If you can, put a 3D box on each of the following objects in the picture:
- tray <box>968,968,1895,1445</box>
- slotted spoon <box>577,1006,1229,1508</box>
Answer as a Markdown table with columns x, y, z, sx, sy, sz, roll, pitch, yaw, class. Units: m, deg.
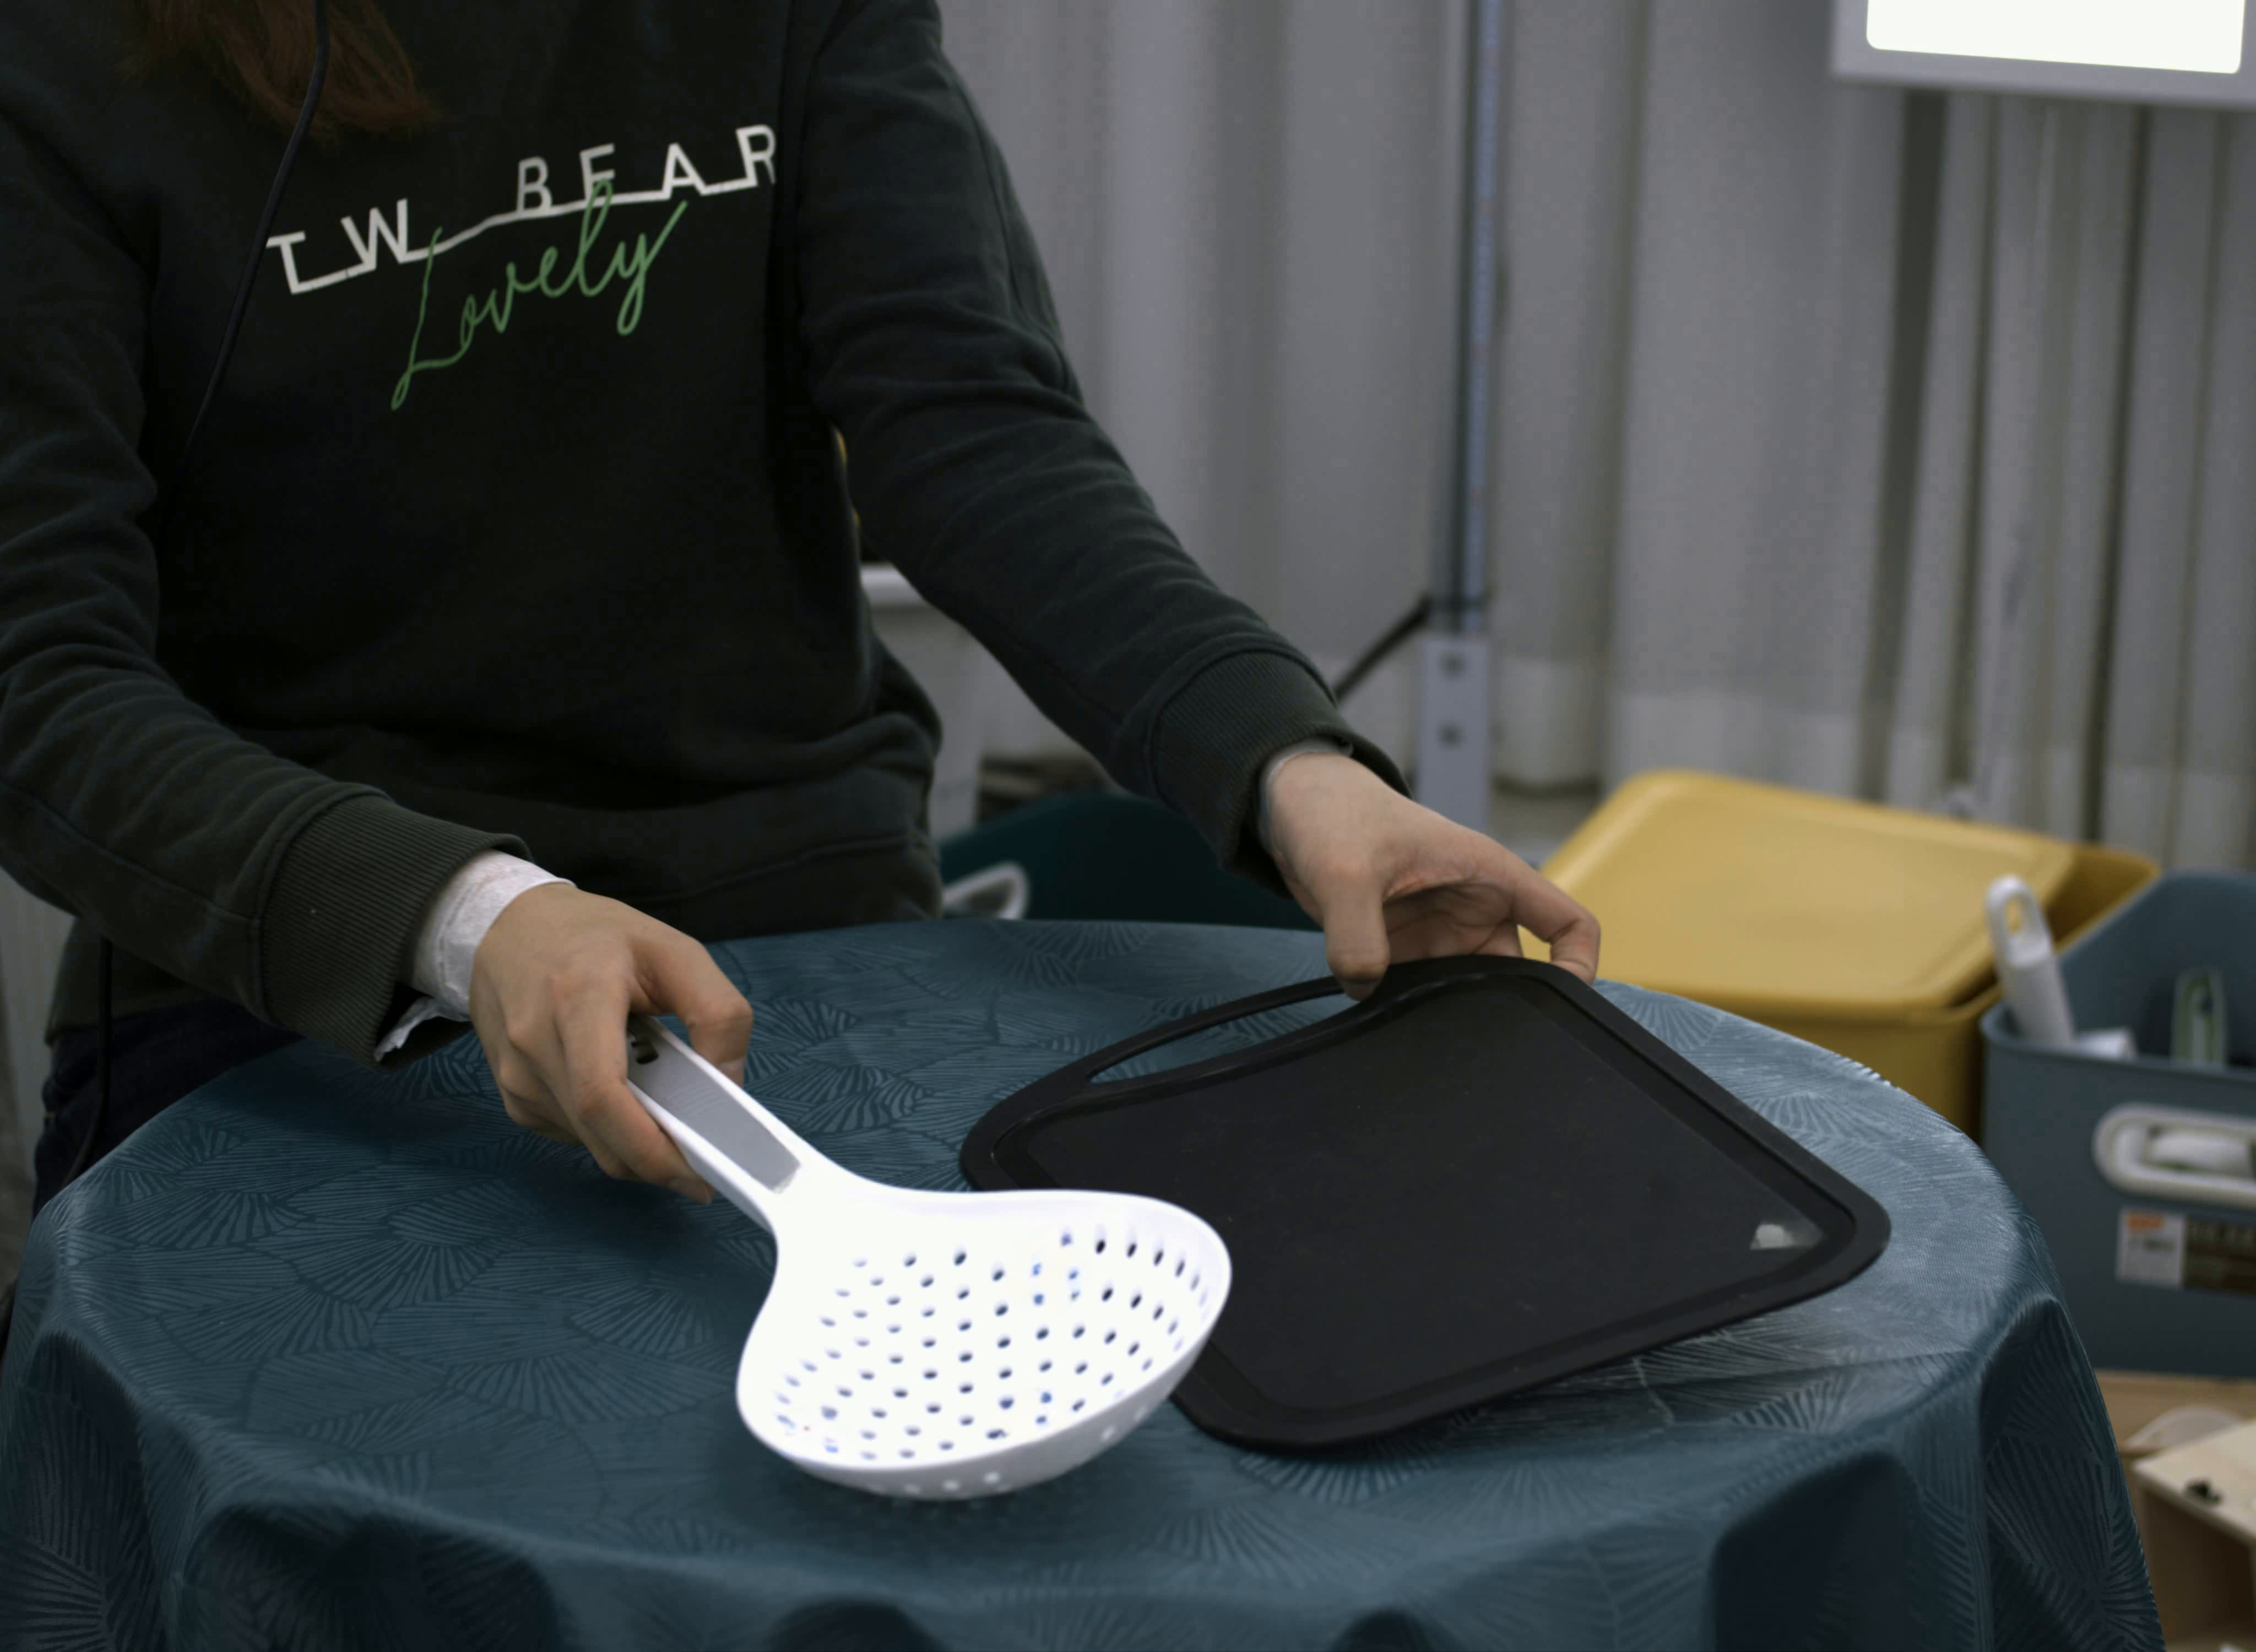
| x | y | z | sx | sy | sz | roll | pitch | yaw | class |
| --- | --- | --- | --- | --- | --- | --- | --- | --- | --- |
| 0.078 | 0.104 | 1.575 | 0.211 | 0.010 | 0.322 | -15 | 20 | -15 | tray |
| -0.085 | 0.112 | 1.489 | 0.136 | 0.046 | 0.345 | -24 | 30 | -19 | slotted spoon |
